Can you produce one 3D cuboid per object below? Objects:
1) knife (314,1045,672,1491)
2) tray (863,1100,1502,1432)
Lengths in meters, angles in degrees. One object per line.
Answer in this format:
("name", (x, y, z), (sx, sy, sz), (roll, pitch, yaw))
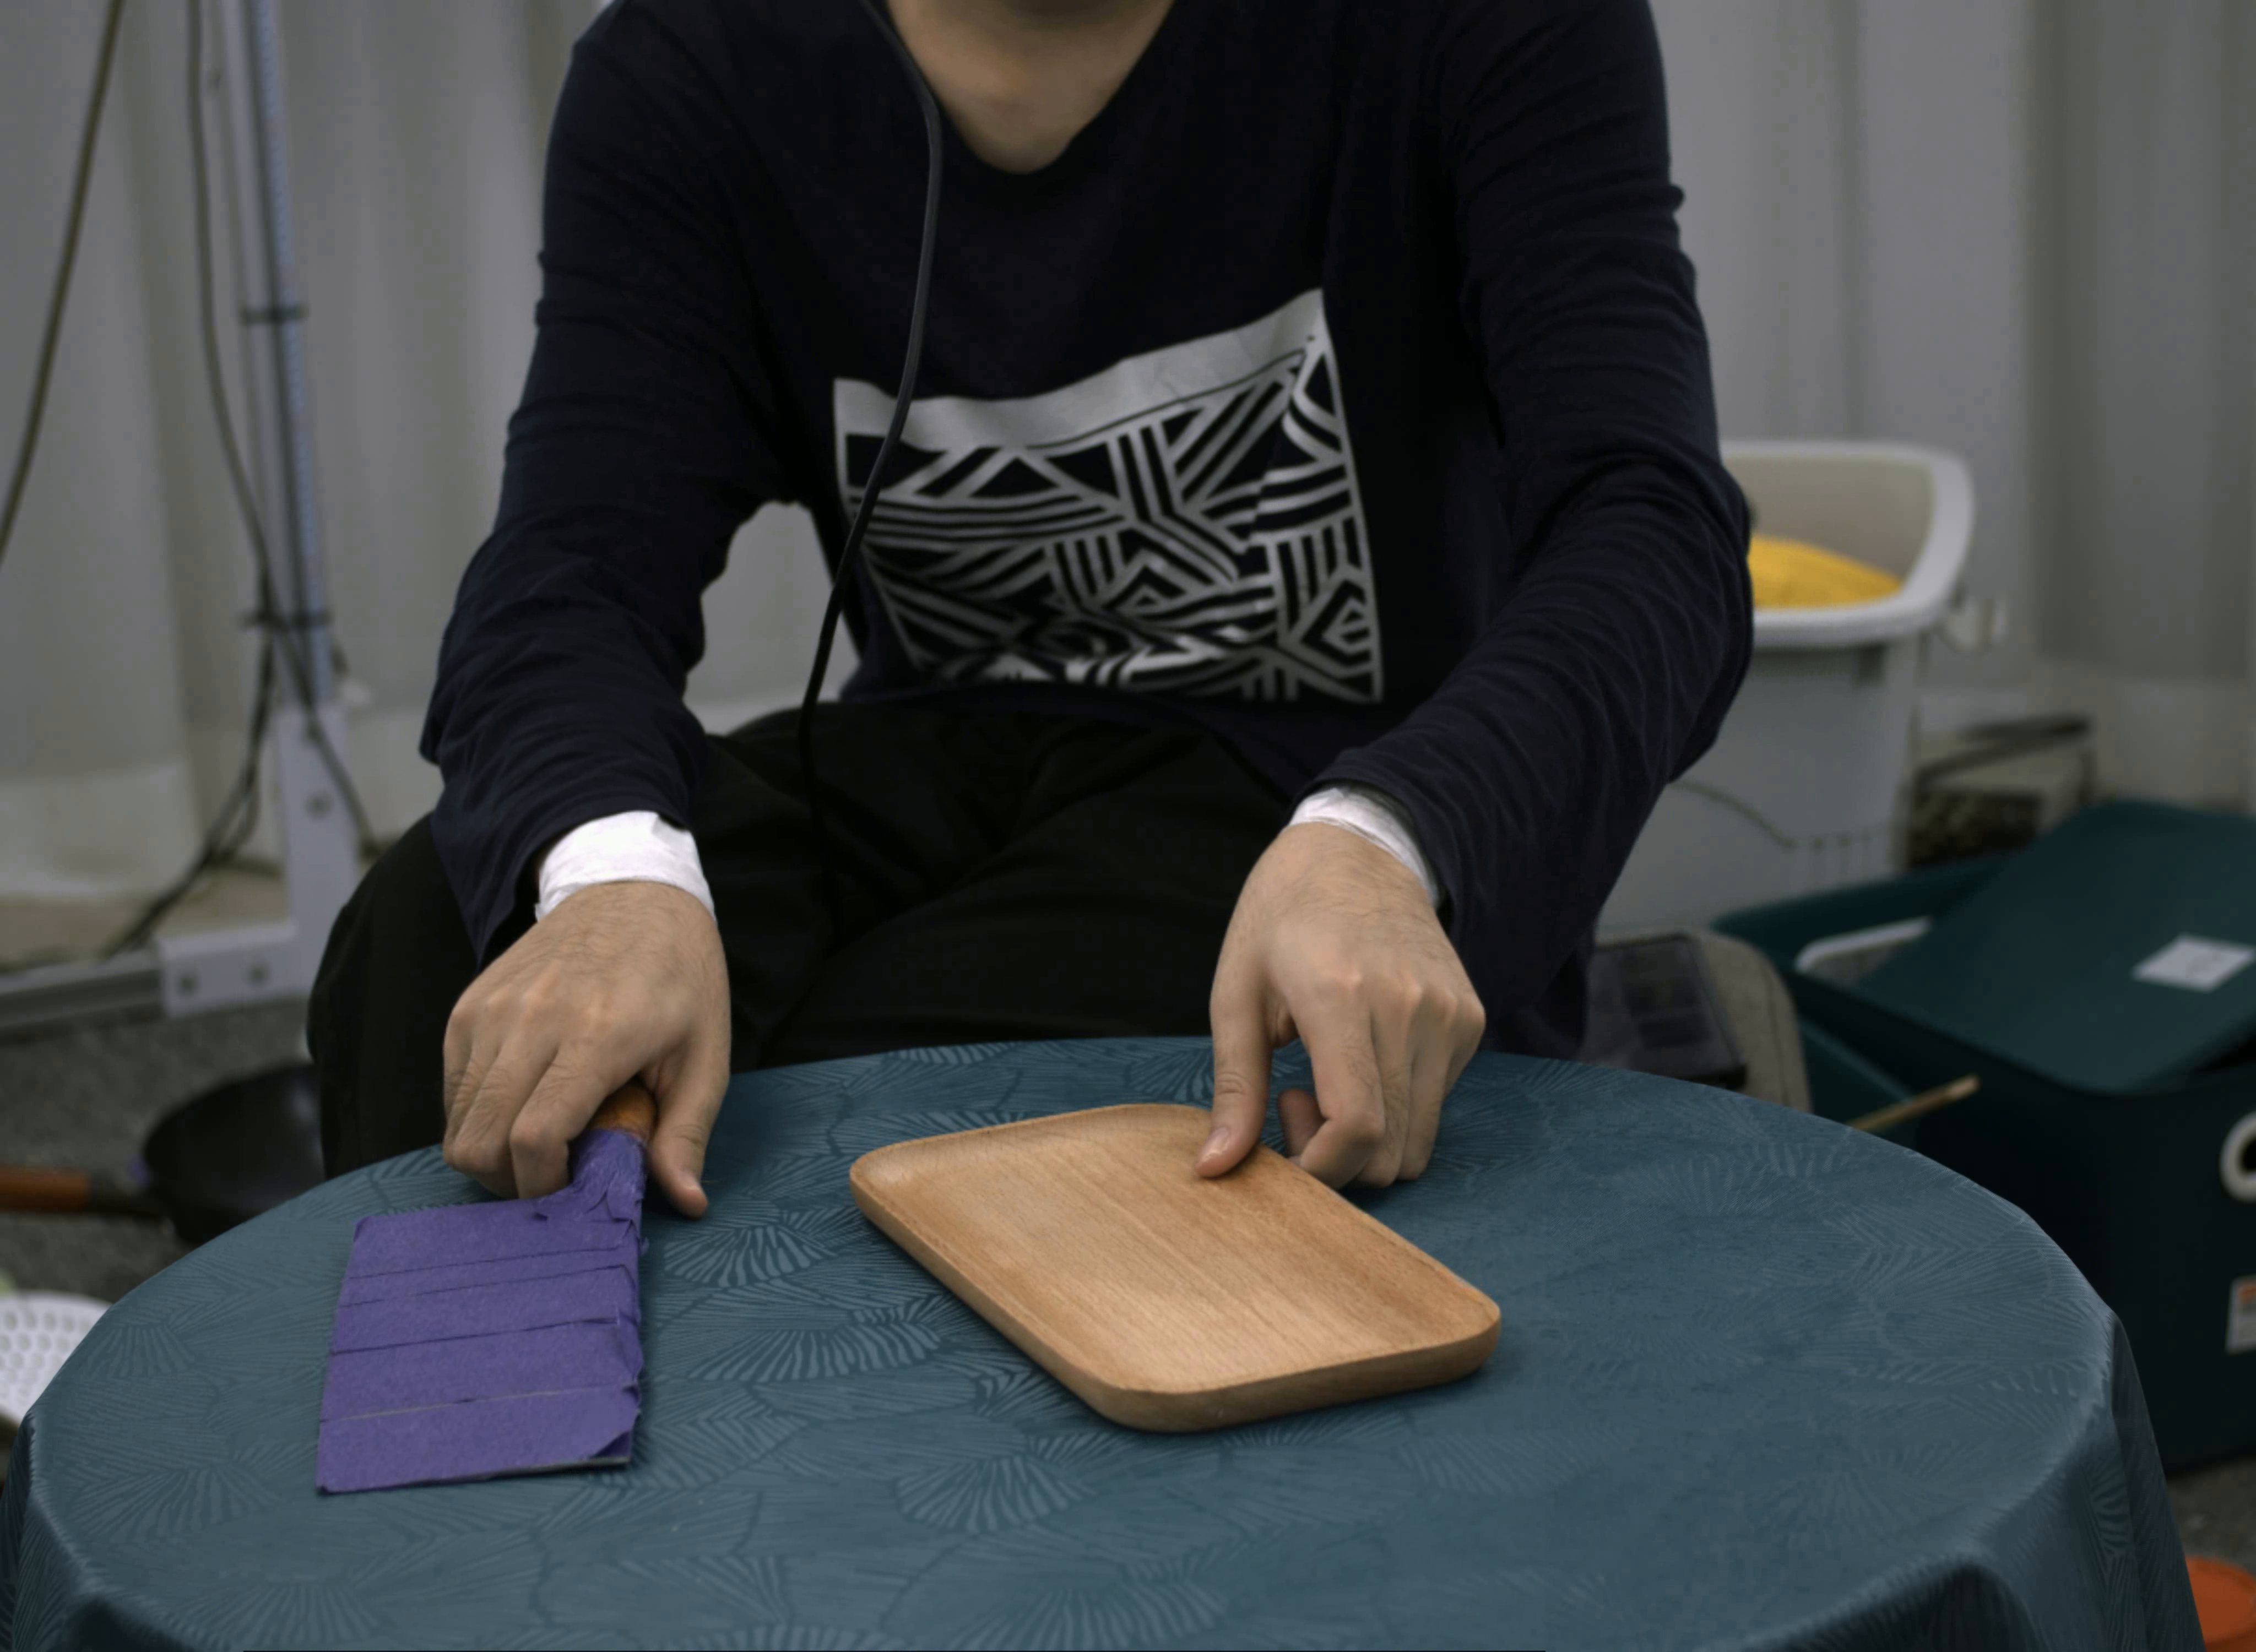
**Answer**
("knife", (-0.190, 0.129, 1.646), (0.103, 0.032, 0.317), (-5, 15, -4))
("tray", (0.012, 0.128, 1.632), (0.130, 0.023, 0.252), (-5, 14, -19))
